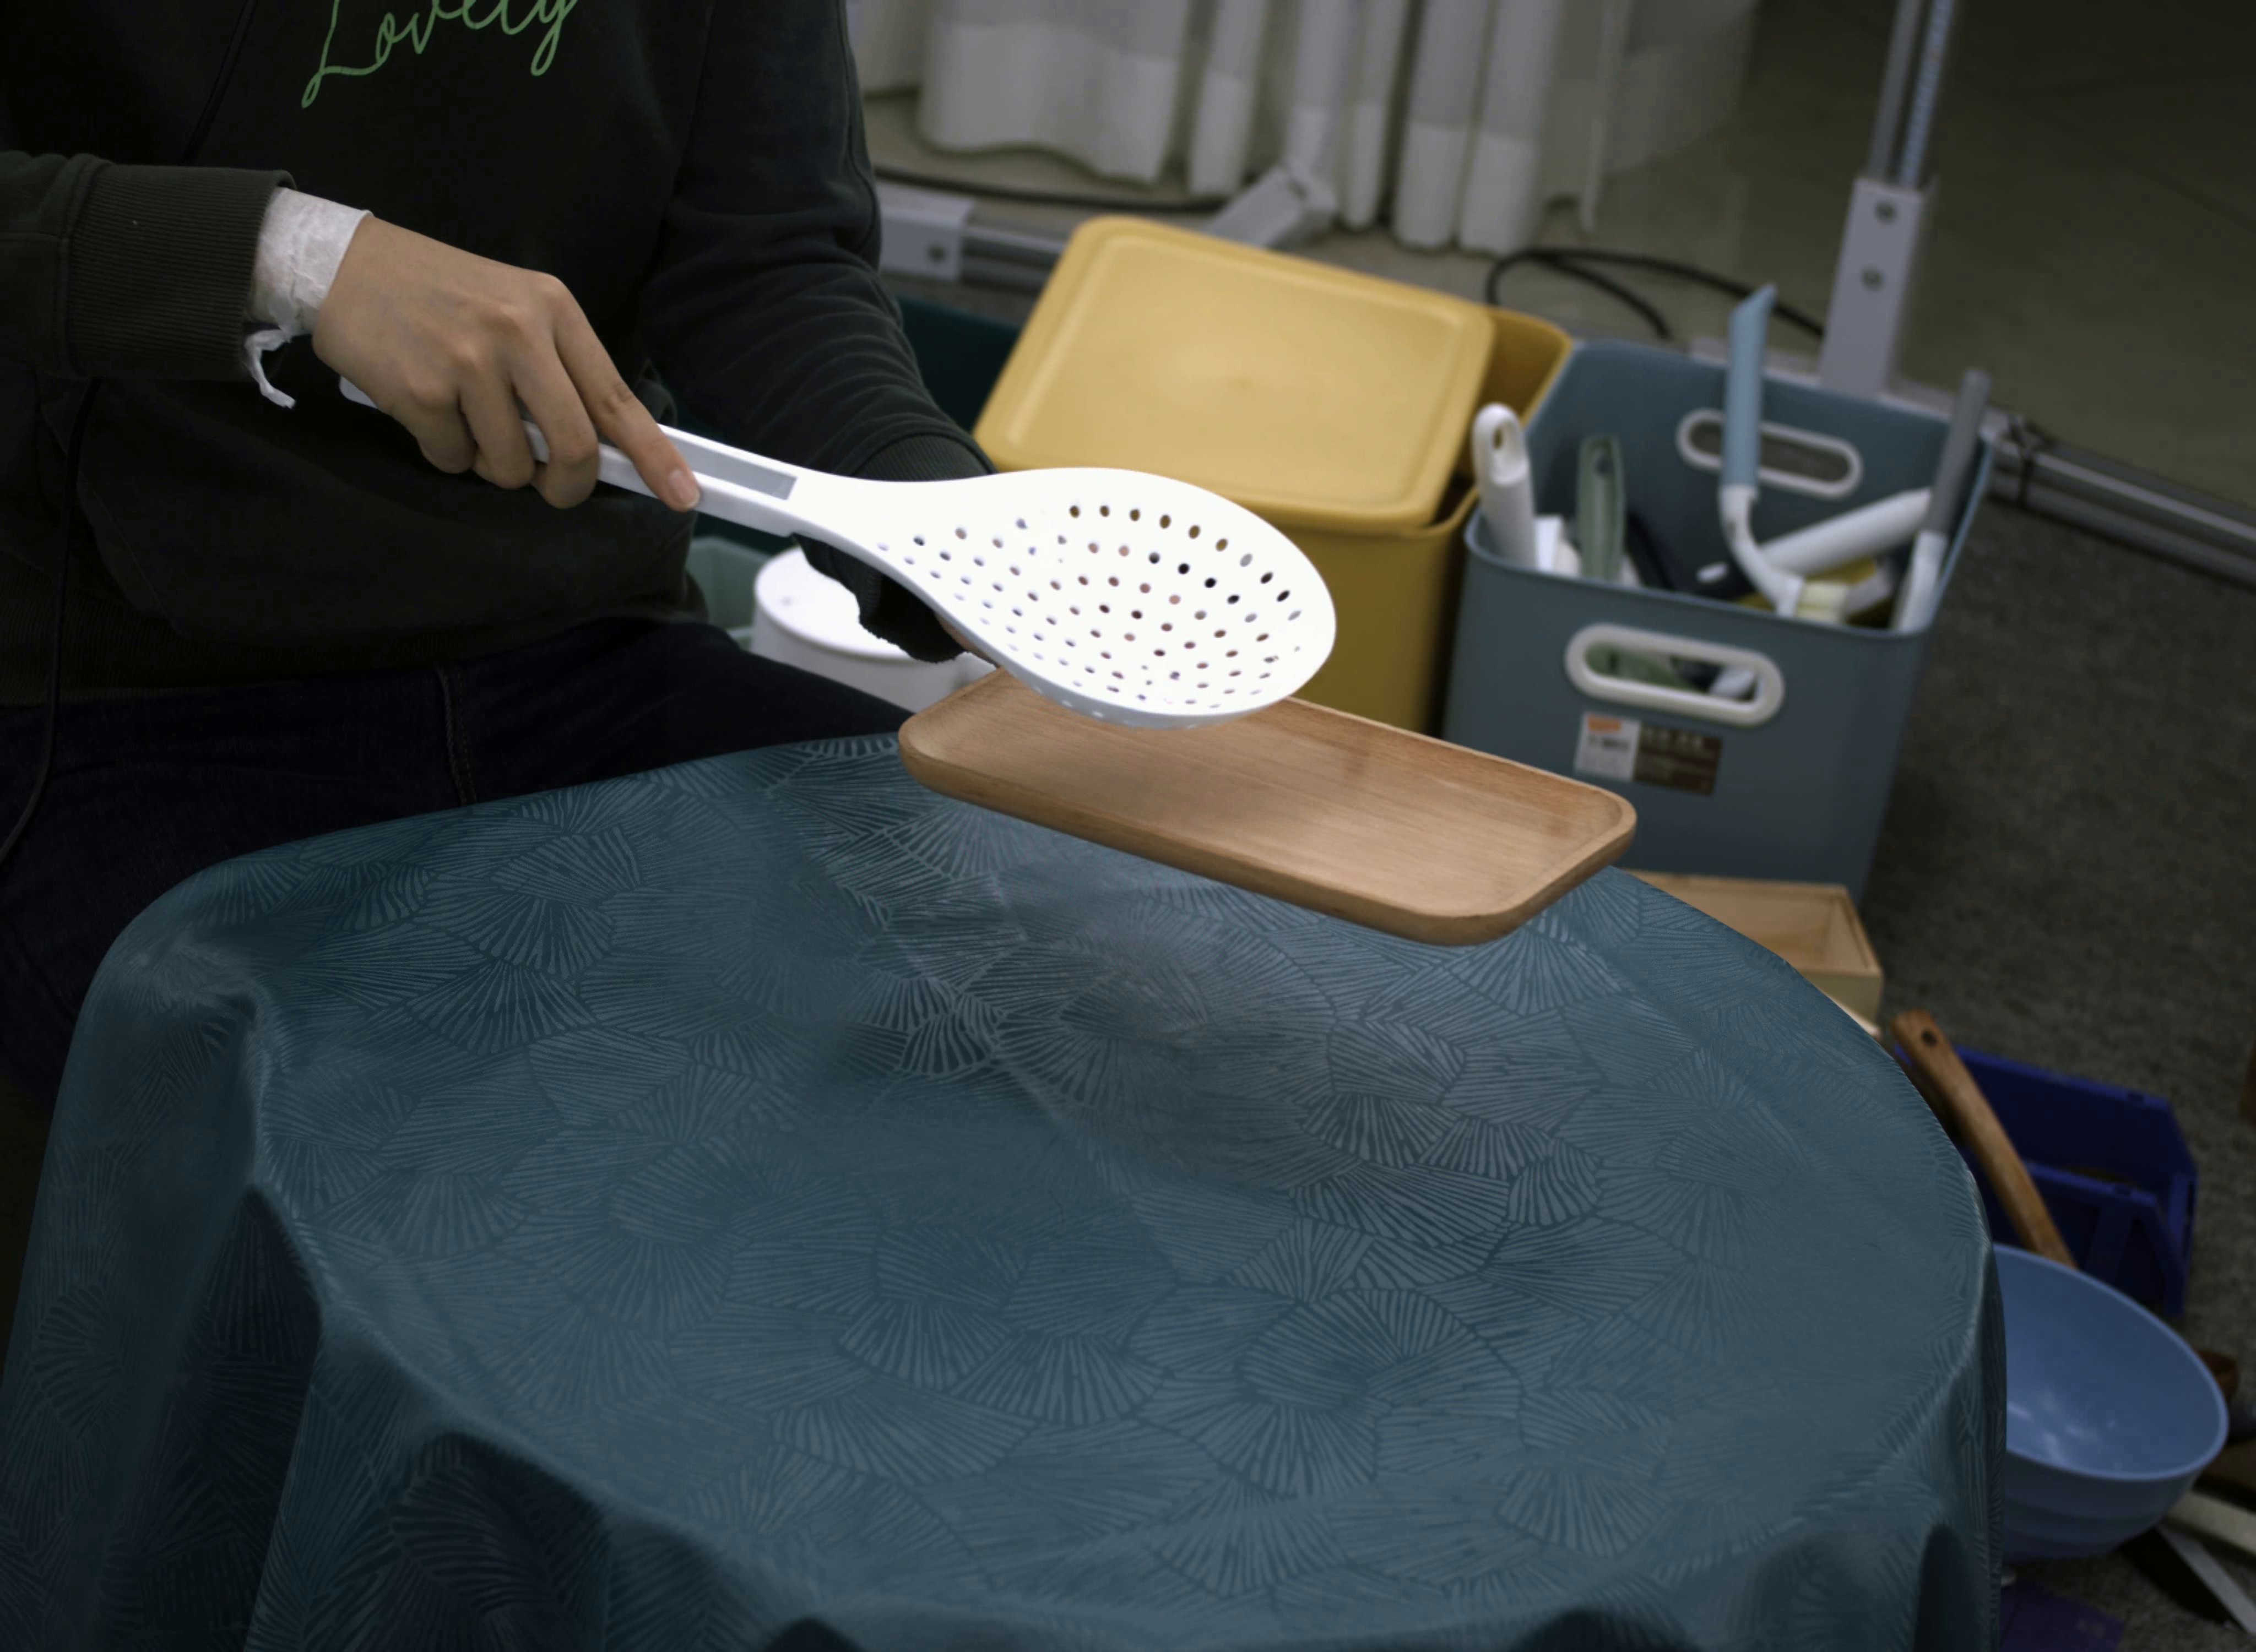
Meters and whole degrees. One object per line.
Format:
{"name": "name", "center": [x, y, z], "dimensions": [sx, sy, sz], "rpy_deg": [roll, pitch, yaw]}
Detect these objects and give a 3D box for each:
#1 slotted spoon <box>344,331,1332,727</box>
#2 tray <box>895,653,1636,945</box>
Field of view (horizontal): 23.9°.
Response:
{"name": "slotted spoon", "center": [-0.101, -0.108, 1.823], "dimensions": [0.349, 0.045, 0.136], "rpy_deg": [21, 36, 0]}
{"name": "tray", "center": [0.046, -0.013, 1.845], "dimensions": [0.252, 0.023, 0.130], "rpy_deg": [16, 26, 31]}
